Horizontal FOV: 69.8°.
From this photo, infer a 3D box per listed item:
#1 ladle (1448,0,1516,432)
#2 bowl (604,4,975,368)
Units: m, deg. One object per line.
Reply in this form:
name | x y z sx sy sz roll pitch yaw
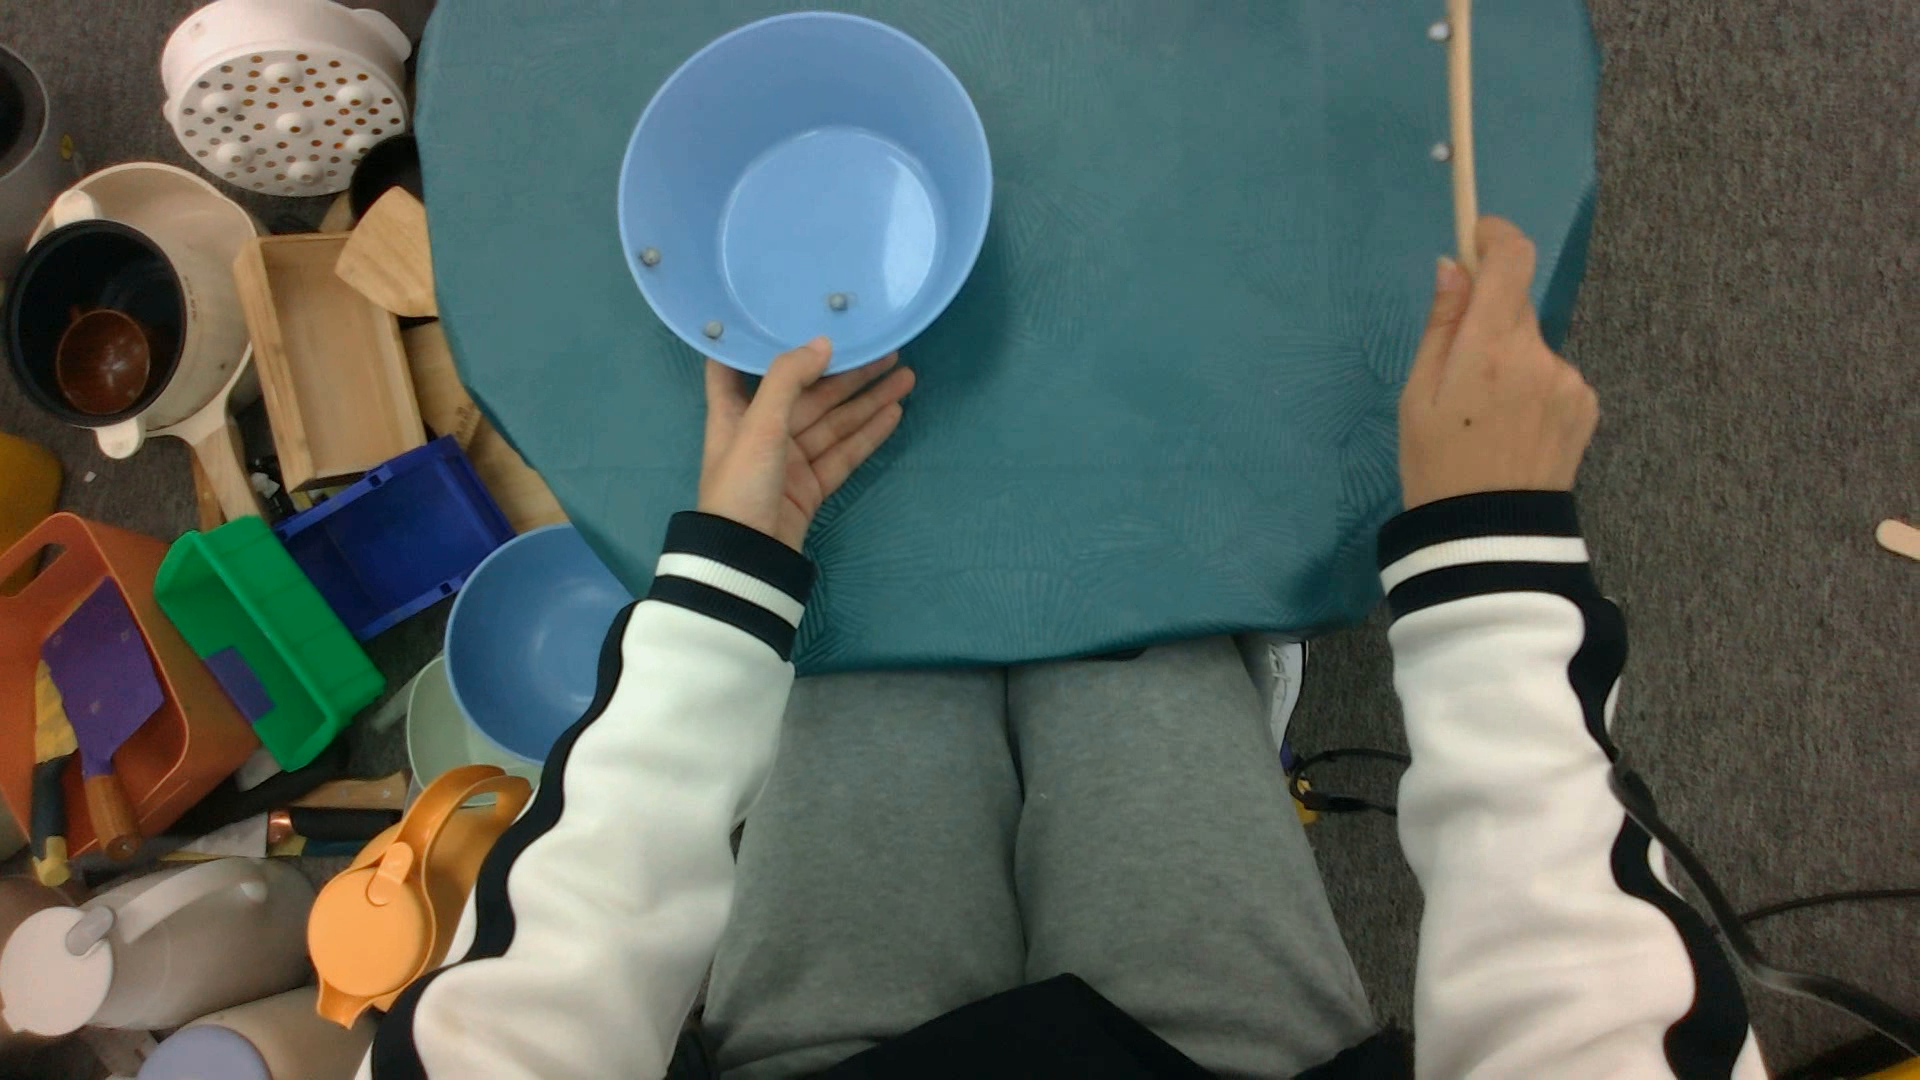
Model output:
ladle | 0.175 -0.165 0.554 0.073 0.072 0.254 -7 97 4
bowl | -0.076 -0.161 0.666 0.176 0.070 0.176 -1 81 7
